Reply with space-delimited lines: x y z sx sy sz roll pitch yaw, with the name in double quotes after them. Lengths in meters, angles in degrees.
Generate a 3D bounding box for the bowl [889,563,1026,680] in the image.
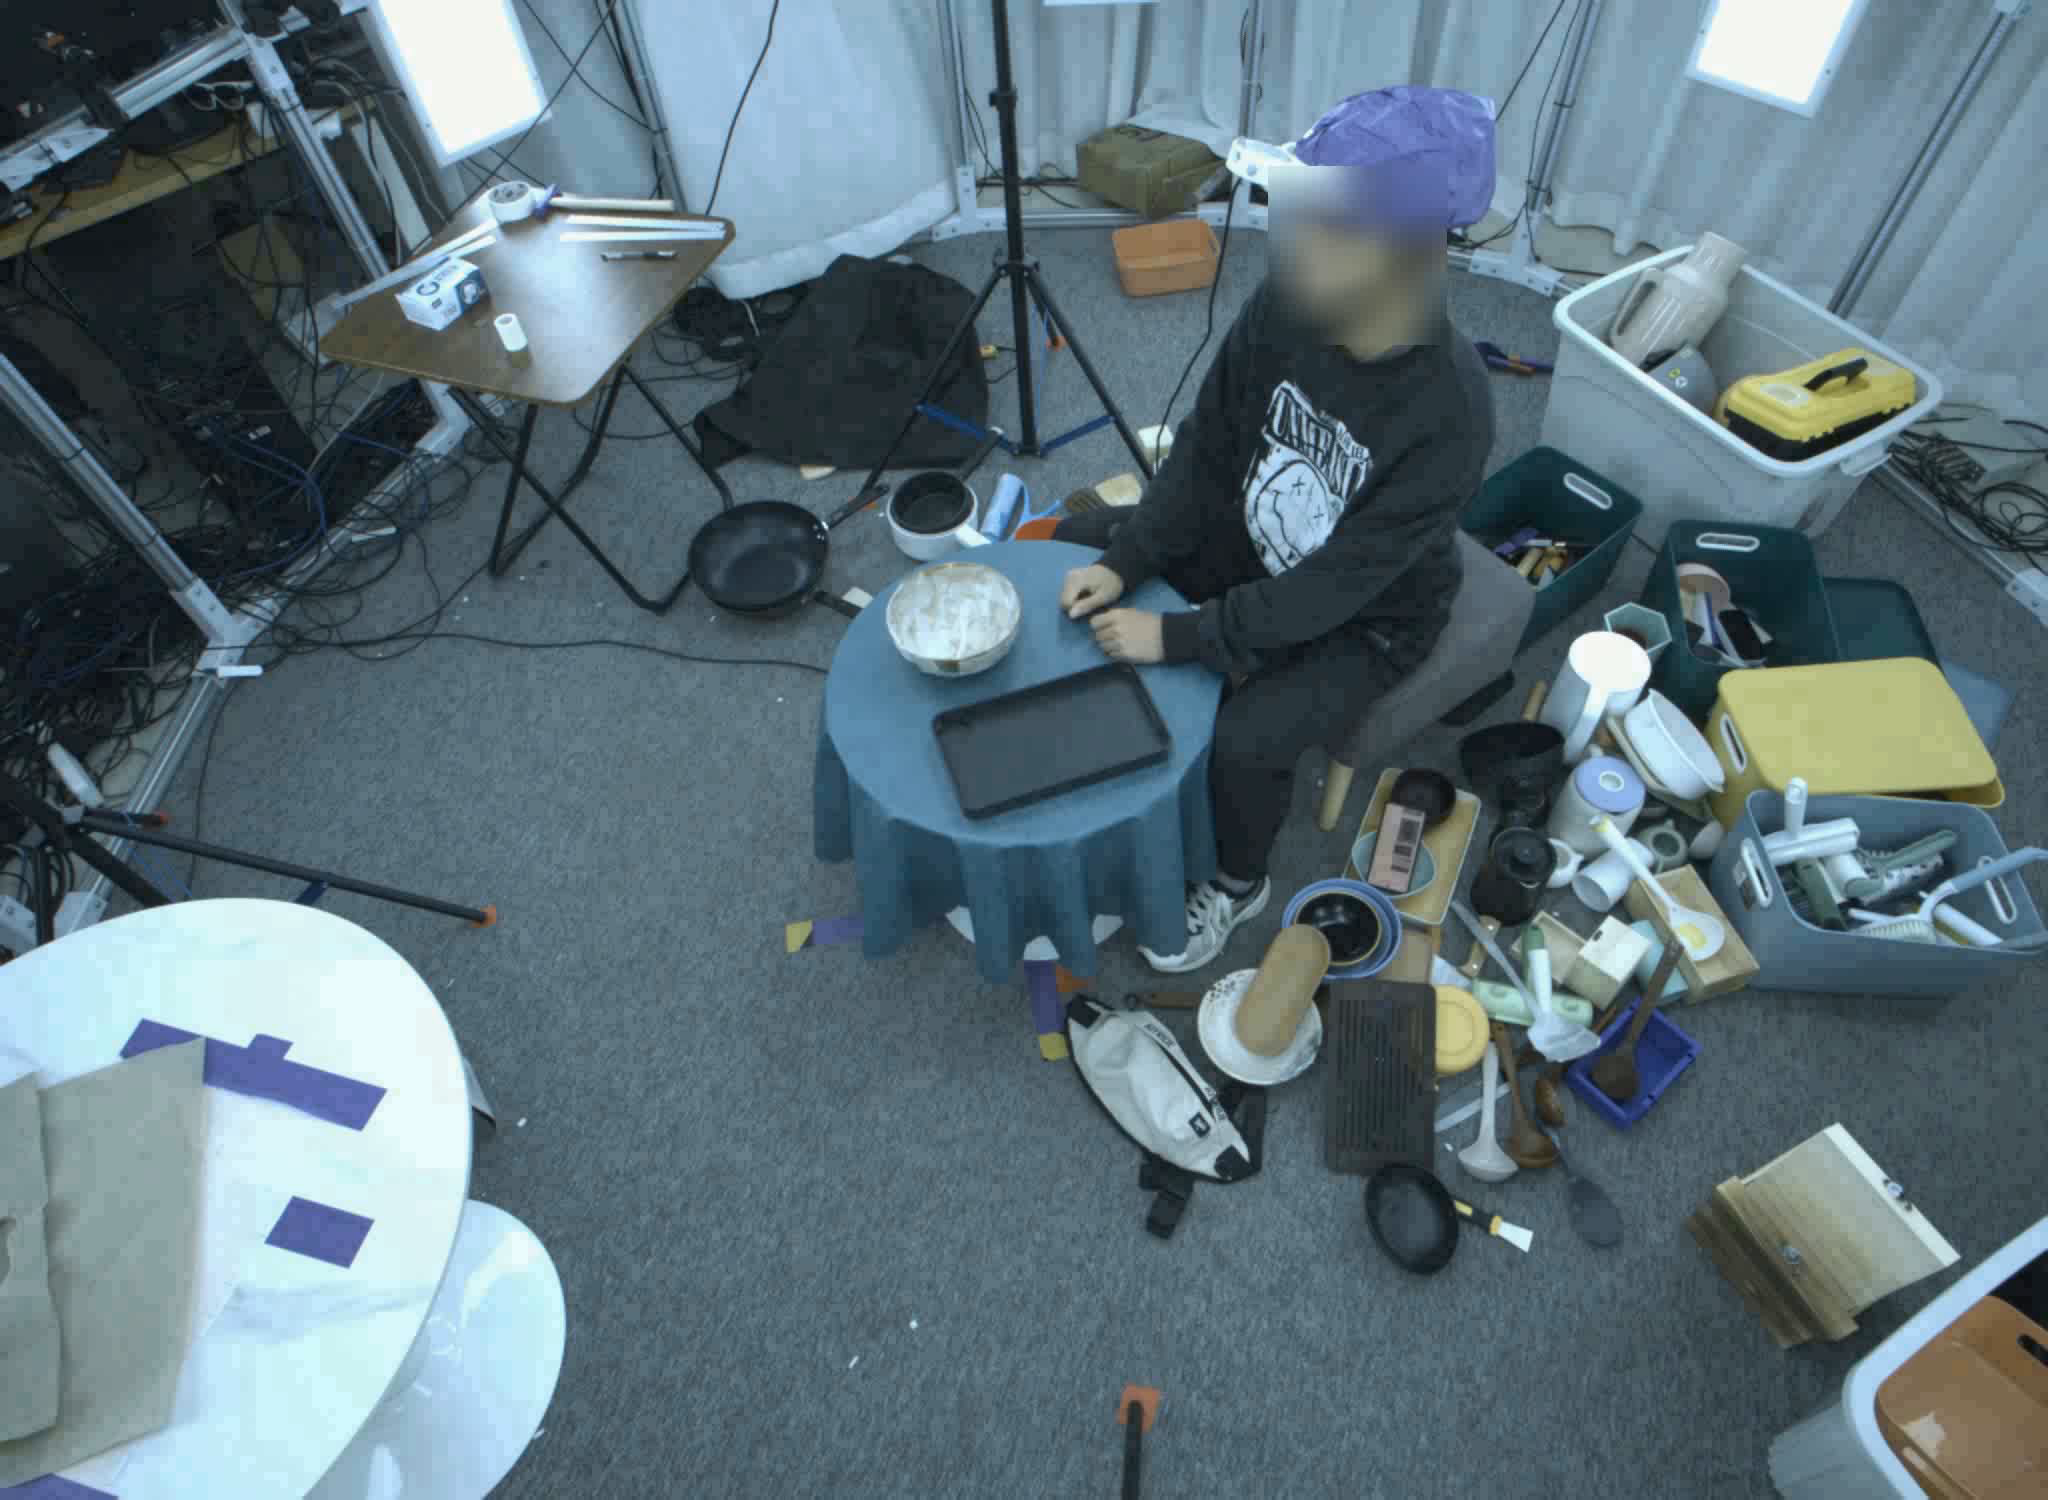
-0.096 -0.179 1.869 0.214 0.095 0.212 -1 54 3 "bowl"

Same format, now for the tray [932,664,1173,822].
0.040 -0.014 1.782 0.320 0.037 0.181 -16 55 -10 "tray"
